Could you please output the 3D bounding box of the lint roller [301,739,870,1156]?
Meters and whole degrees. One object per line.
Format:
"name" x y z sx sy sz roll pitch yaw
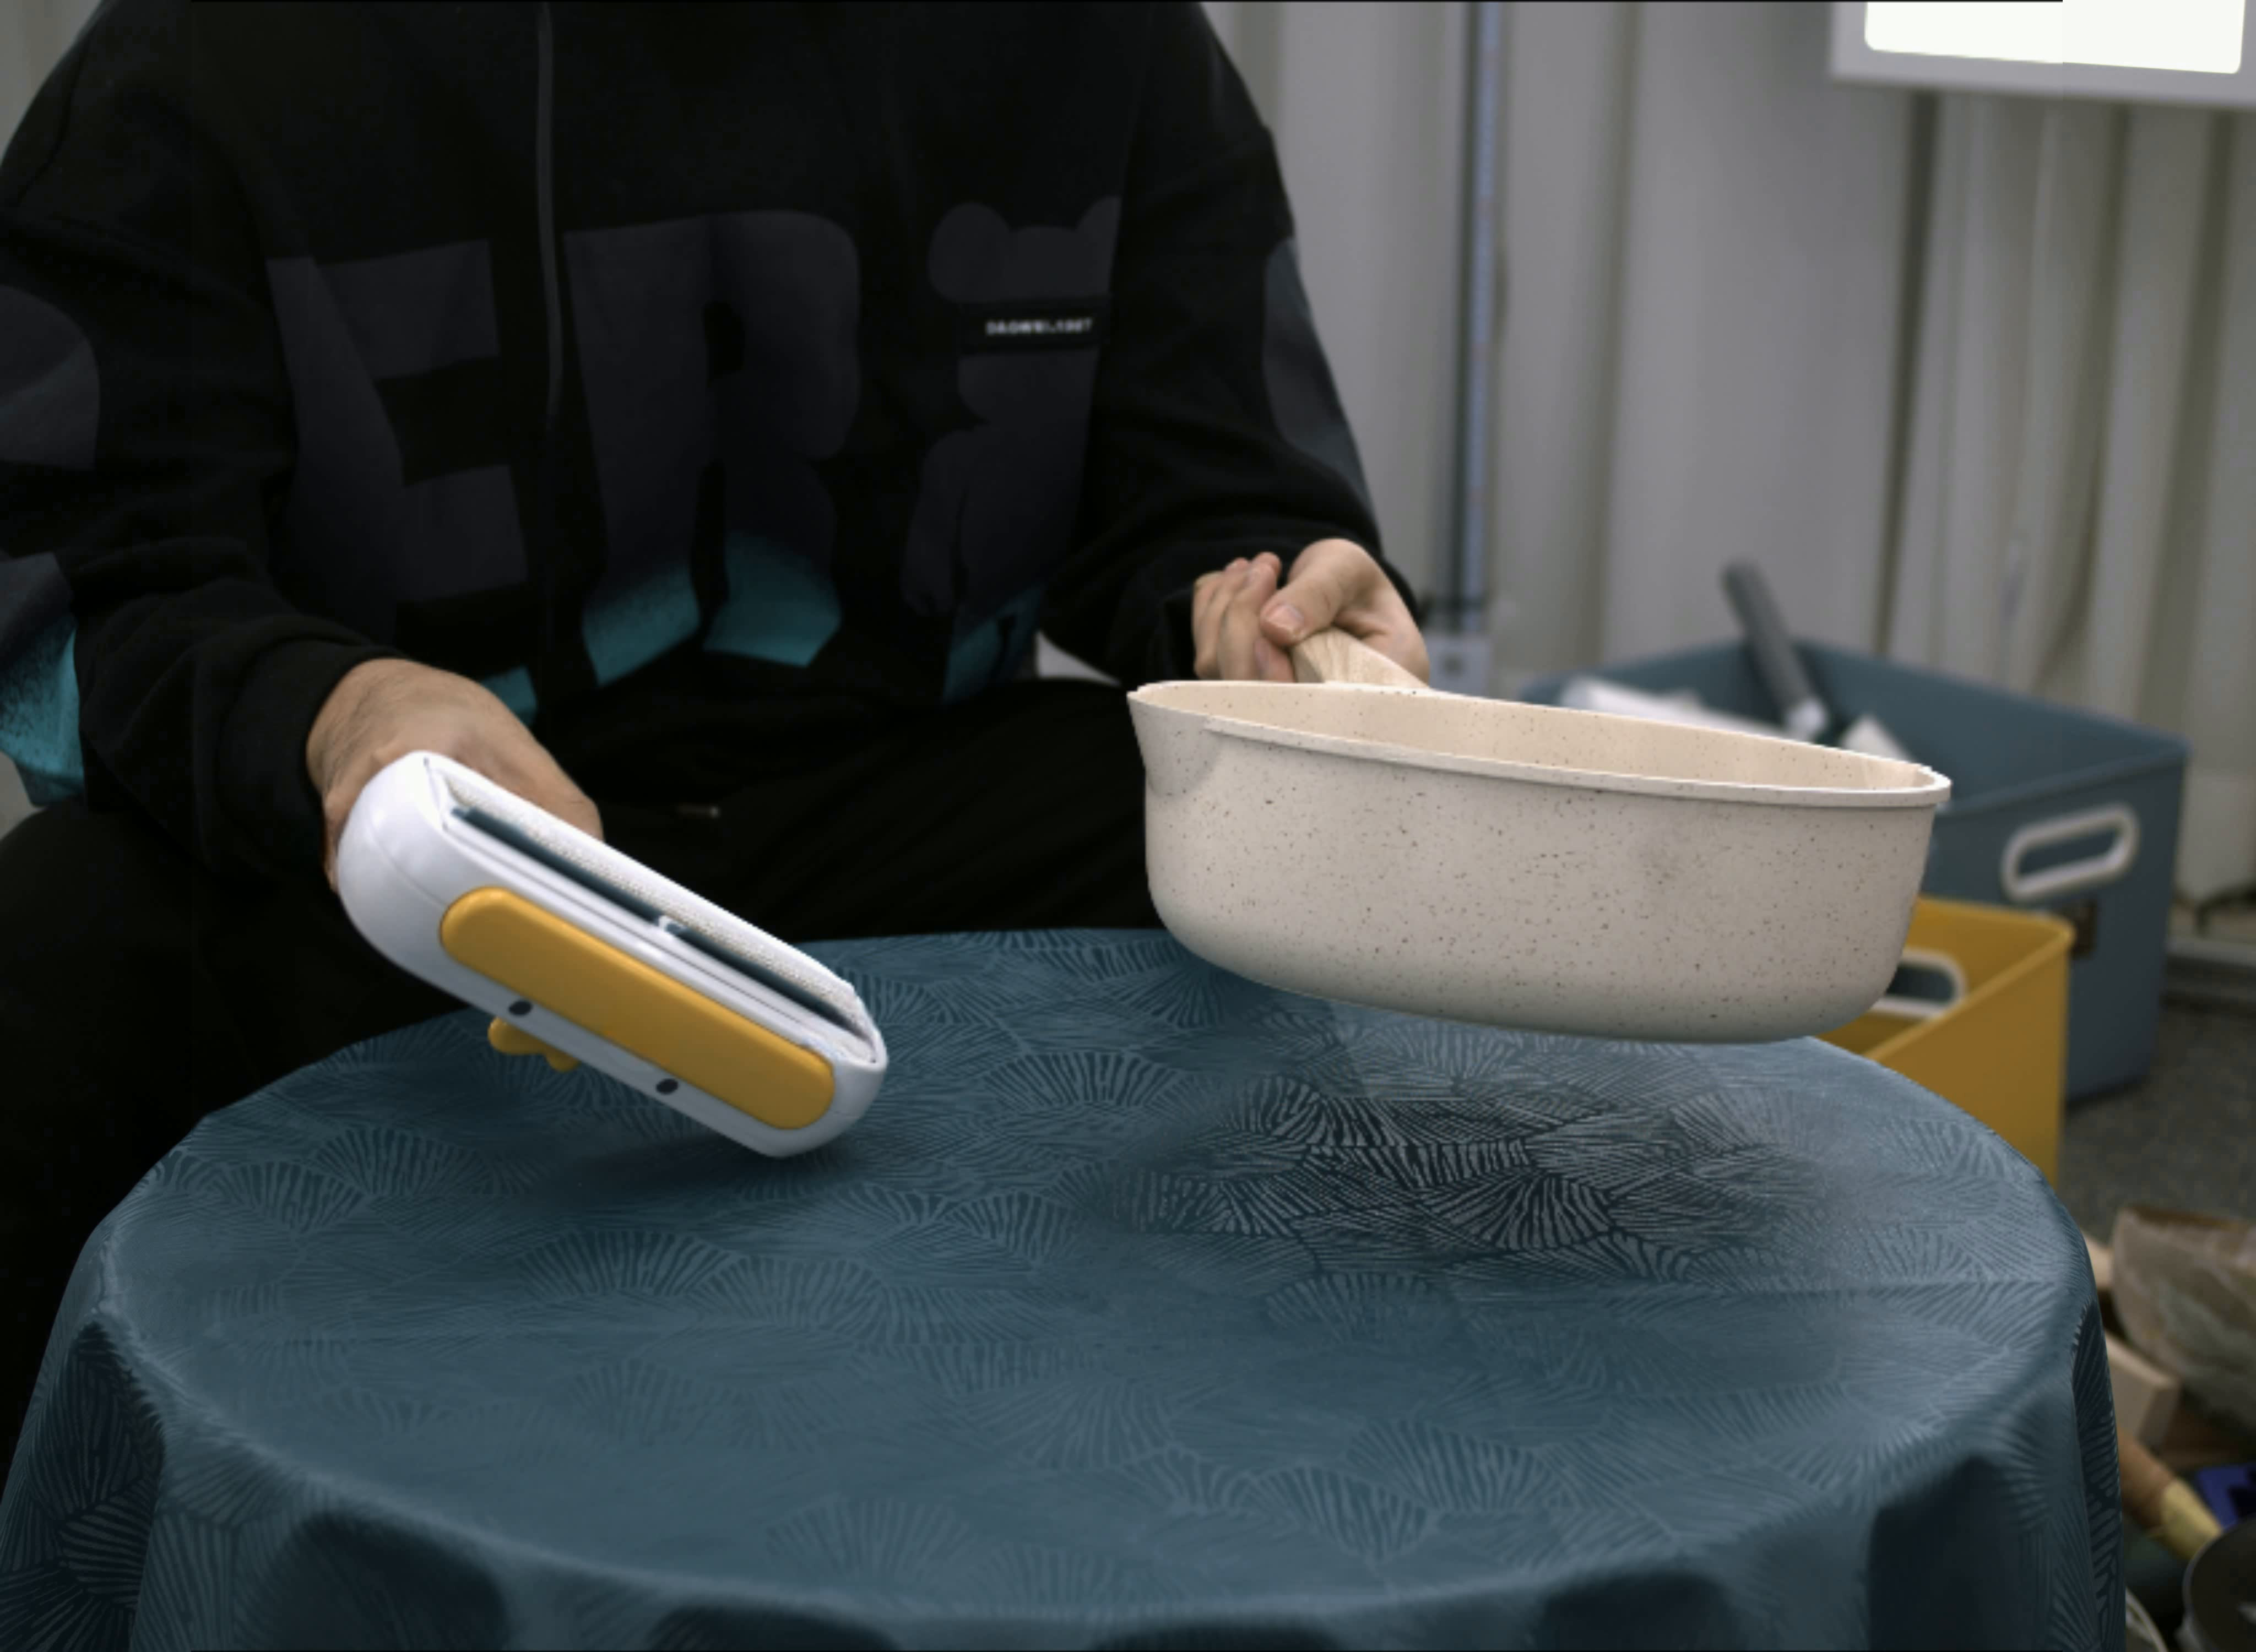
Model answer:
"lint roller" -0.185 0.022 1.653 0.194 0.074 0.190 26 13 -28

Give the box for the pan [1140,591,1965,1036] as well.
"pan" 0.099 -0.008 1.701 0.264 0.102 0.431 2 6 -19
